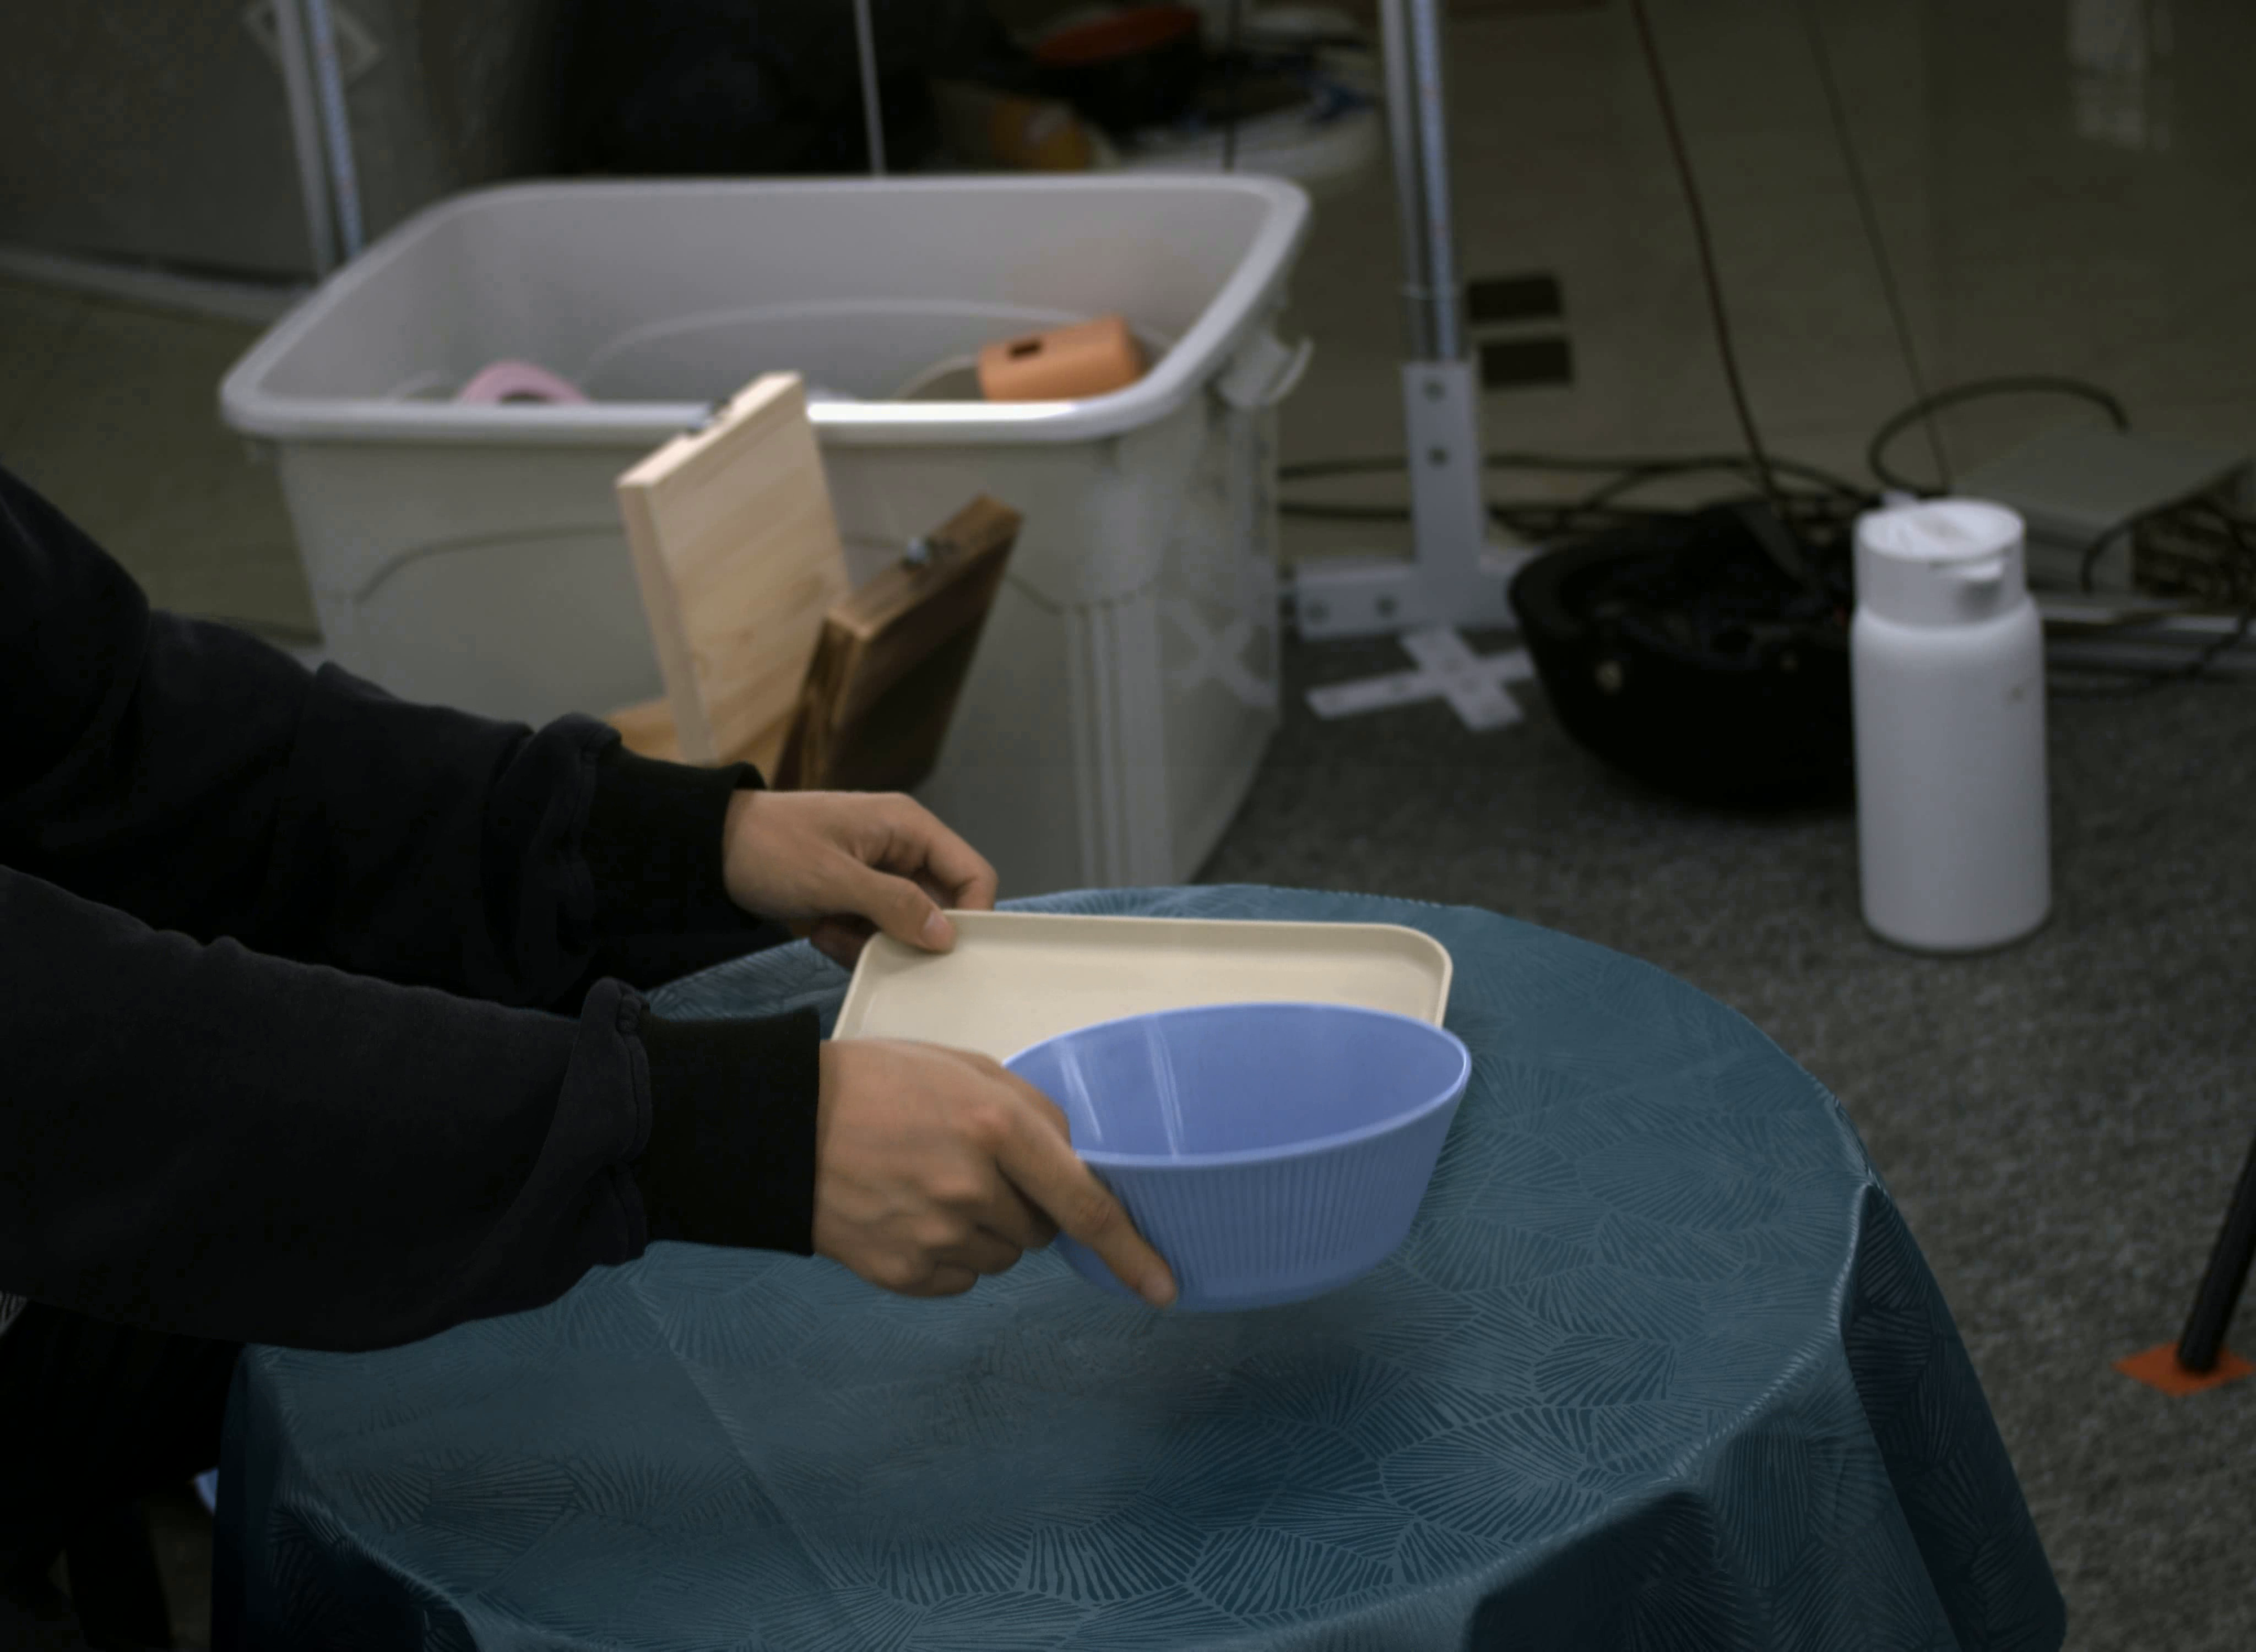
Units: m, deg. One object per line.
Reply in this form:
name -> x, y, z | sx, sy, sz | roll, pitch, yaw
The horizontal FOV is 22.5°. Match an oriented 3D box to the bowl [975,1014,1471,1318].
bowl -> 0.036, 0.123, 2.006 | 0.176, 0.071, 0.174 | -5, 15, 1

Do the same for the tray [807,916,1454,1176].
tray -> 0.003, 0.089, 2.209 | 0.239, 0.018, 0.168 | 2, 32, 10
